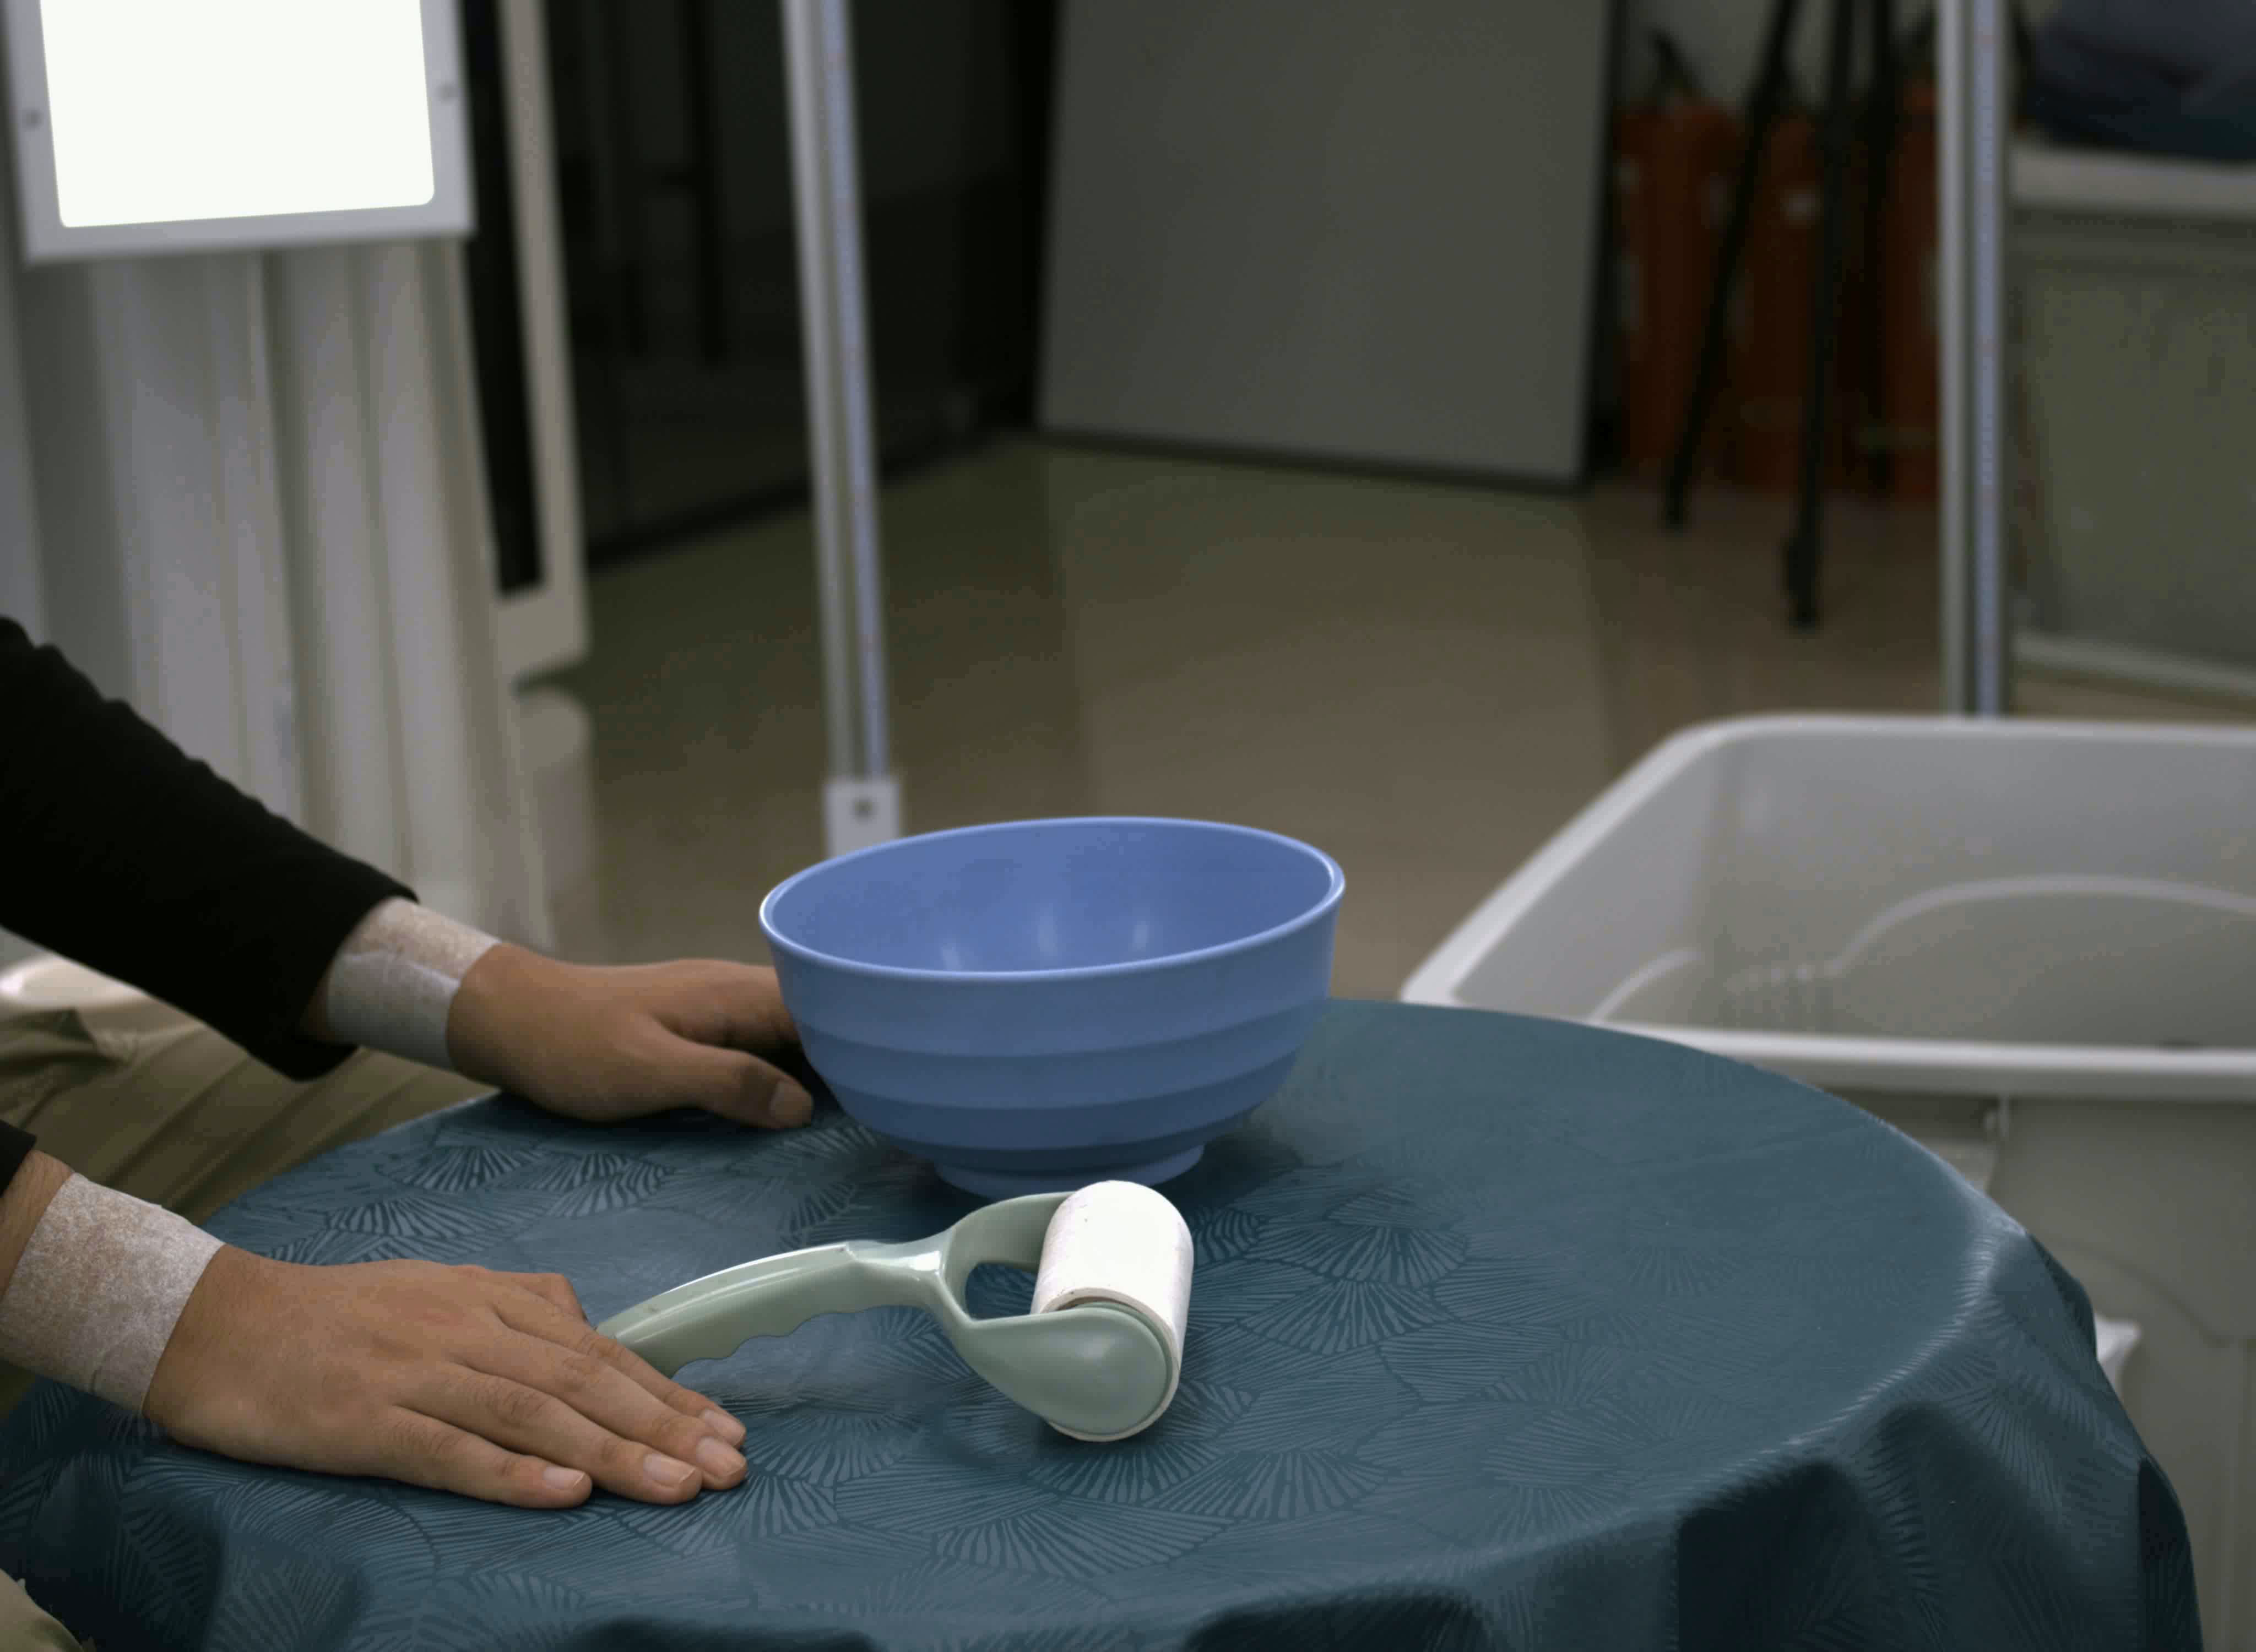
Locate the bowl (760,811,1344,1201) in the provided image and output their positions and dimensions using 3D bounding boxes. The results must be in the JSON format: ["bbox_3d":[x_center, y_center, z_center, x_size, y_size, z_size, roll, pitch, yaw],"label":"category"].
[{"bbox_3d":[-0.022,0.066,1.798,0.194,0.096,0.197,-4,15,0],"label":"bowl"}]

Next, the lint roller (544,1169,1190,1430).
[{"bbox_3d":[-0.077,0.145,1.601,0.195,0.049,0.116,-4,15,5],"label":"lint roller"}]
